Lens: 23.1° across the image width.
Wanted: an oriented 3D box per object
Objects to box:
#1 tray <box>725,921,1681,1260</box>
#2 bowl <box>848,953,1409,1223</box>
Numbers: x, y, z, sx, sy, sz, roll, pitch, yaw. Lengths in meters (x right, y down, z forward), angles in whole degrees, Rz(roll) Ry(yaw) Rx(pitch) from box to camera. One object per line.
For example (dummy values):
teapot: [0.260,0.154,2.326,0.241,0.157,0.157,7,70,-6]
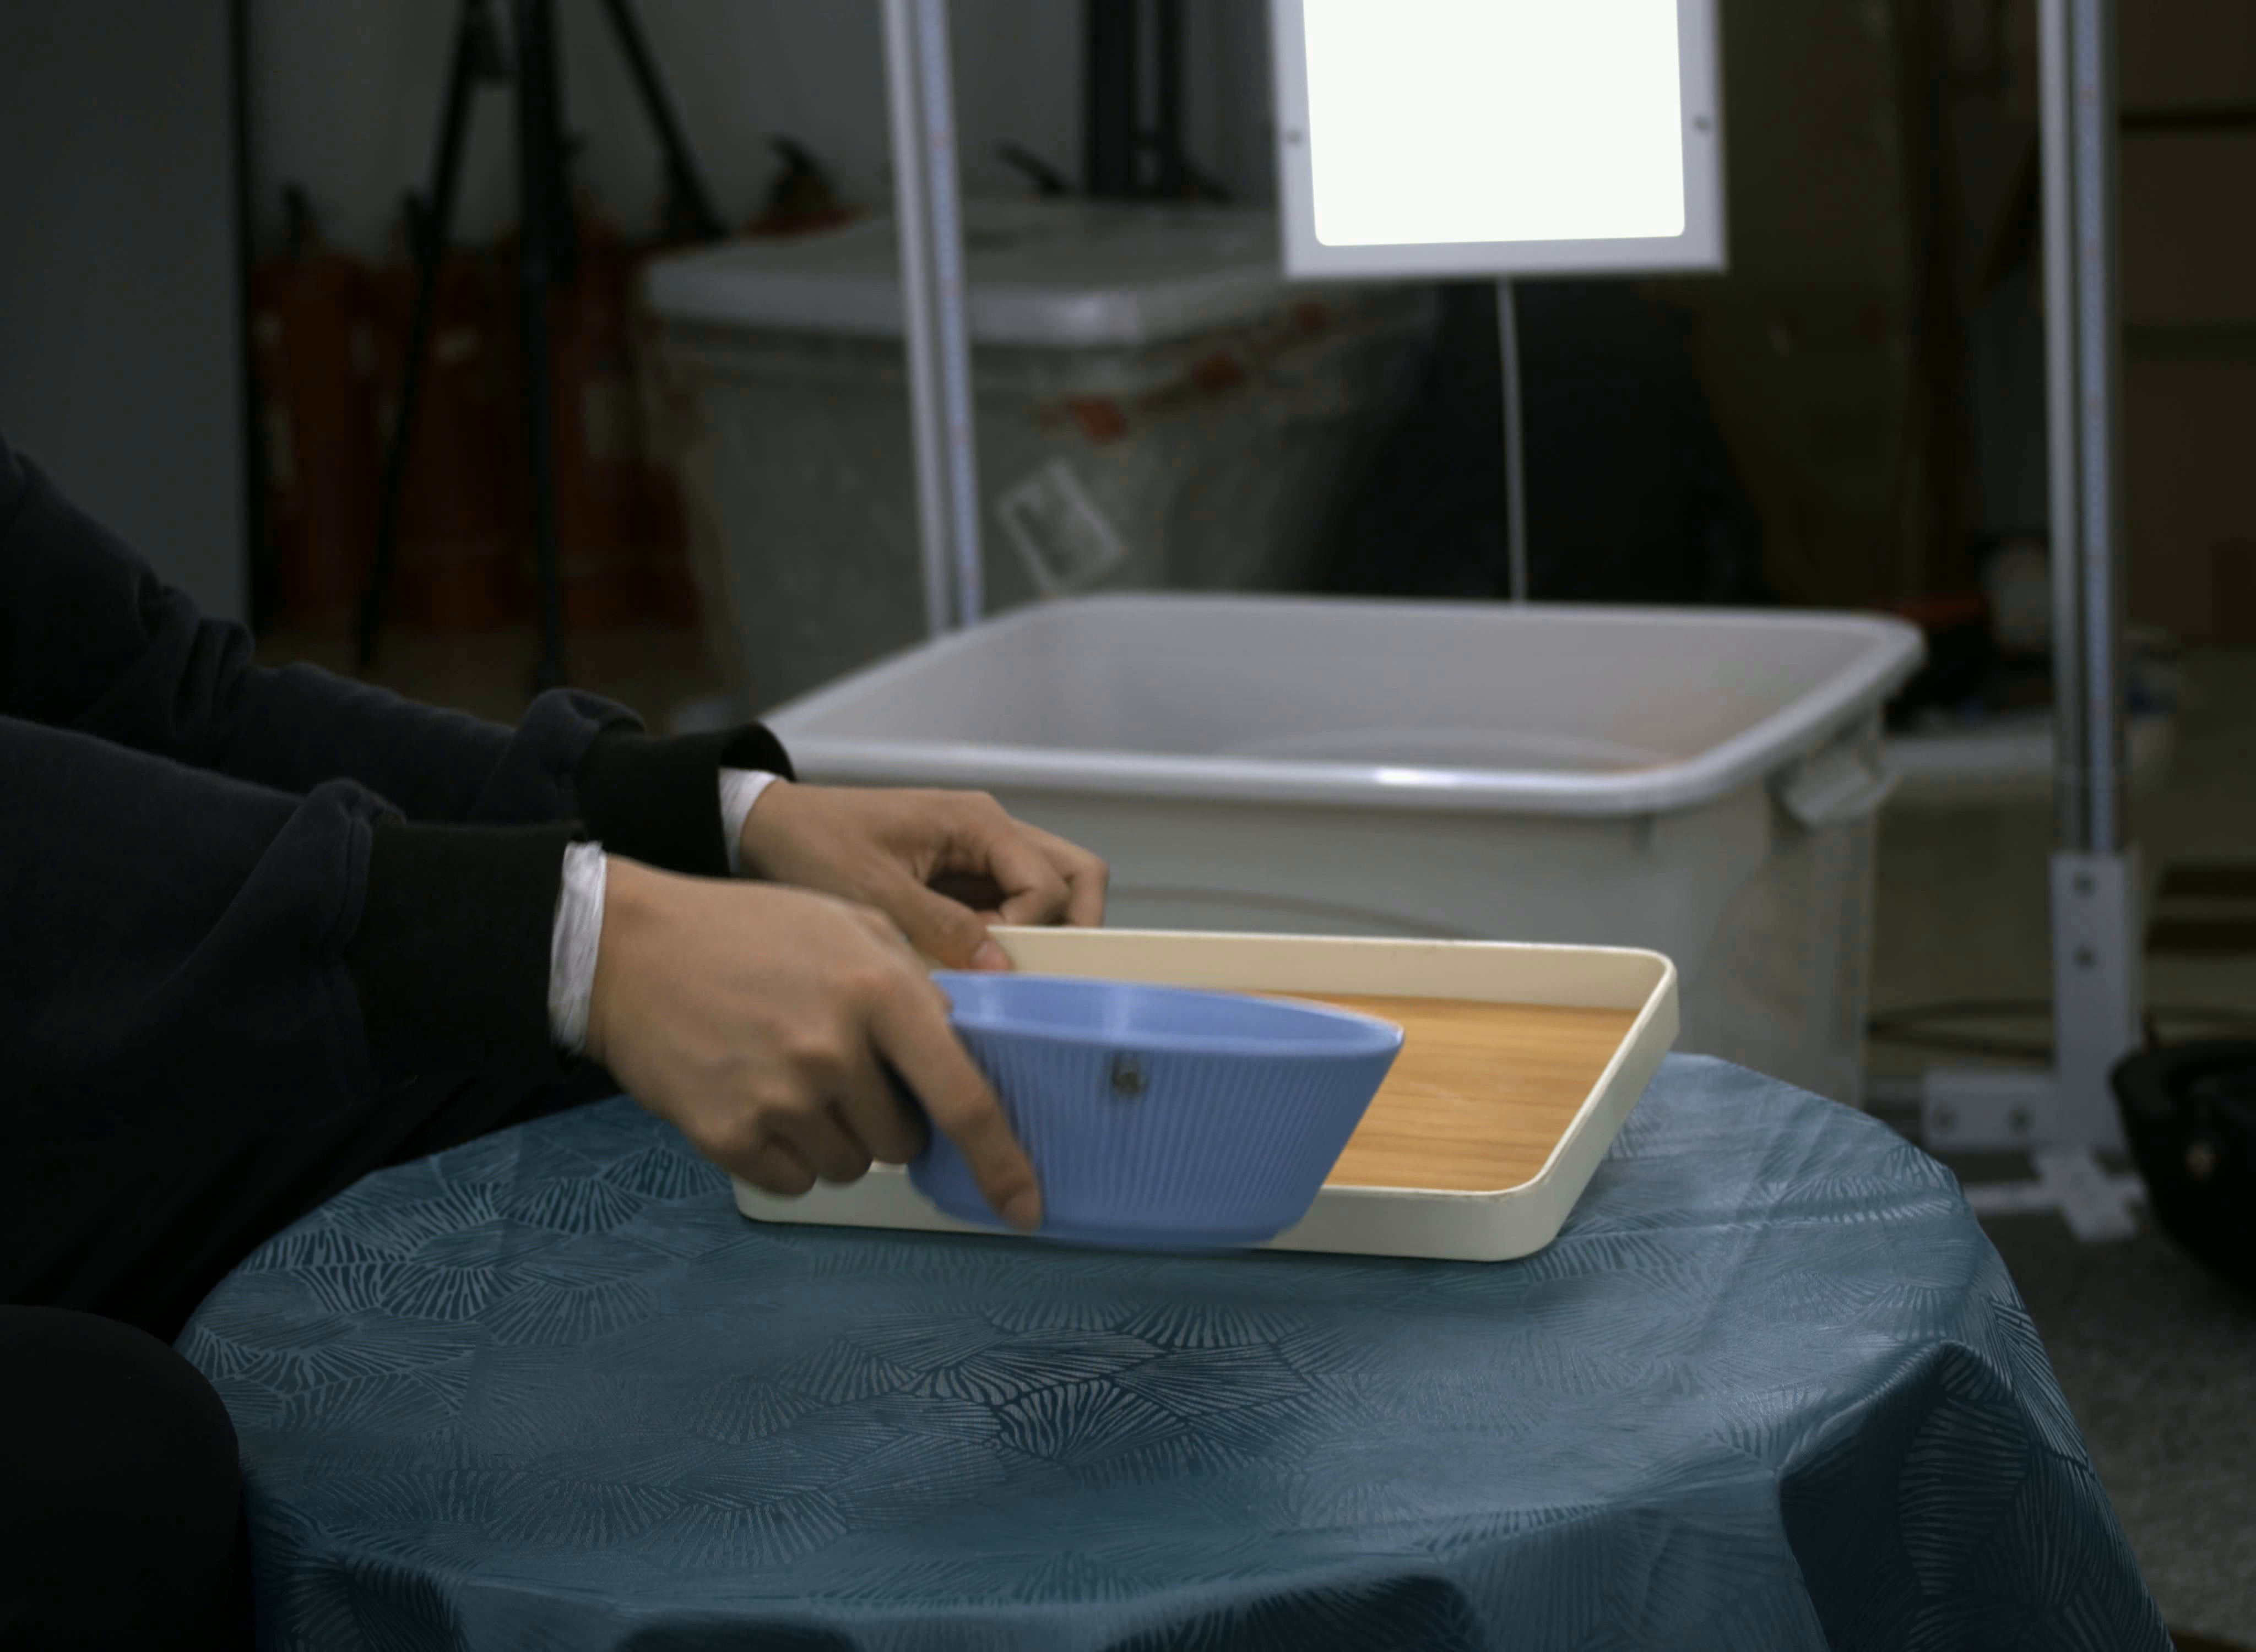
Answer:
tray: [0.028,0.089,1.917,0.305,0.027,0.188,1,26,24]
bowl: [-0.003,0.082,1.710,0.175,0.070,0.176,6,3,-2]
